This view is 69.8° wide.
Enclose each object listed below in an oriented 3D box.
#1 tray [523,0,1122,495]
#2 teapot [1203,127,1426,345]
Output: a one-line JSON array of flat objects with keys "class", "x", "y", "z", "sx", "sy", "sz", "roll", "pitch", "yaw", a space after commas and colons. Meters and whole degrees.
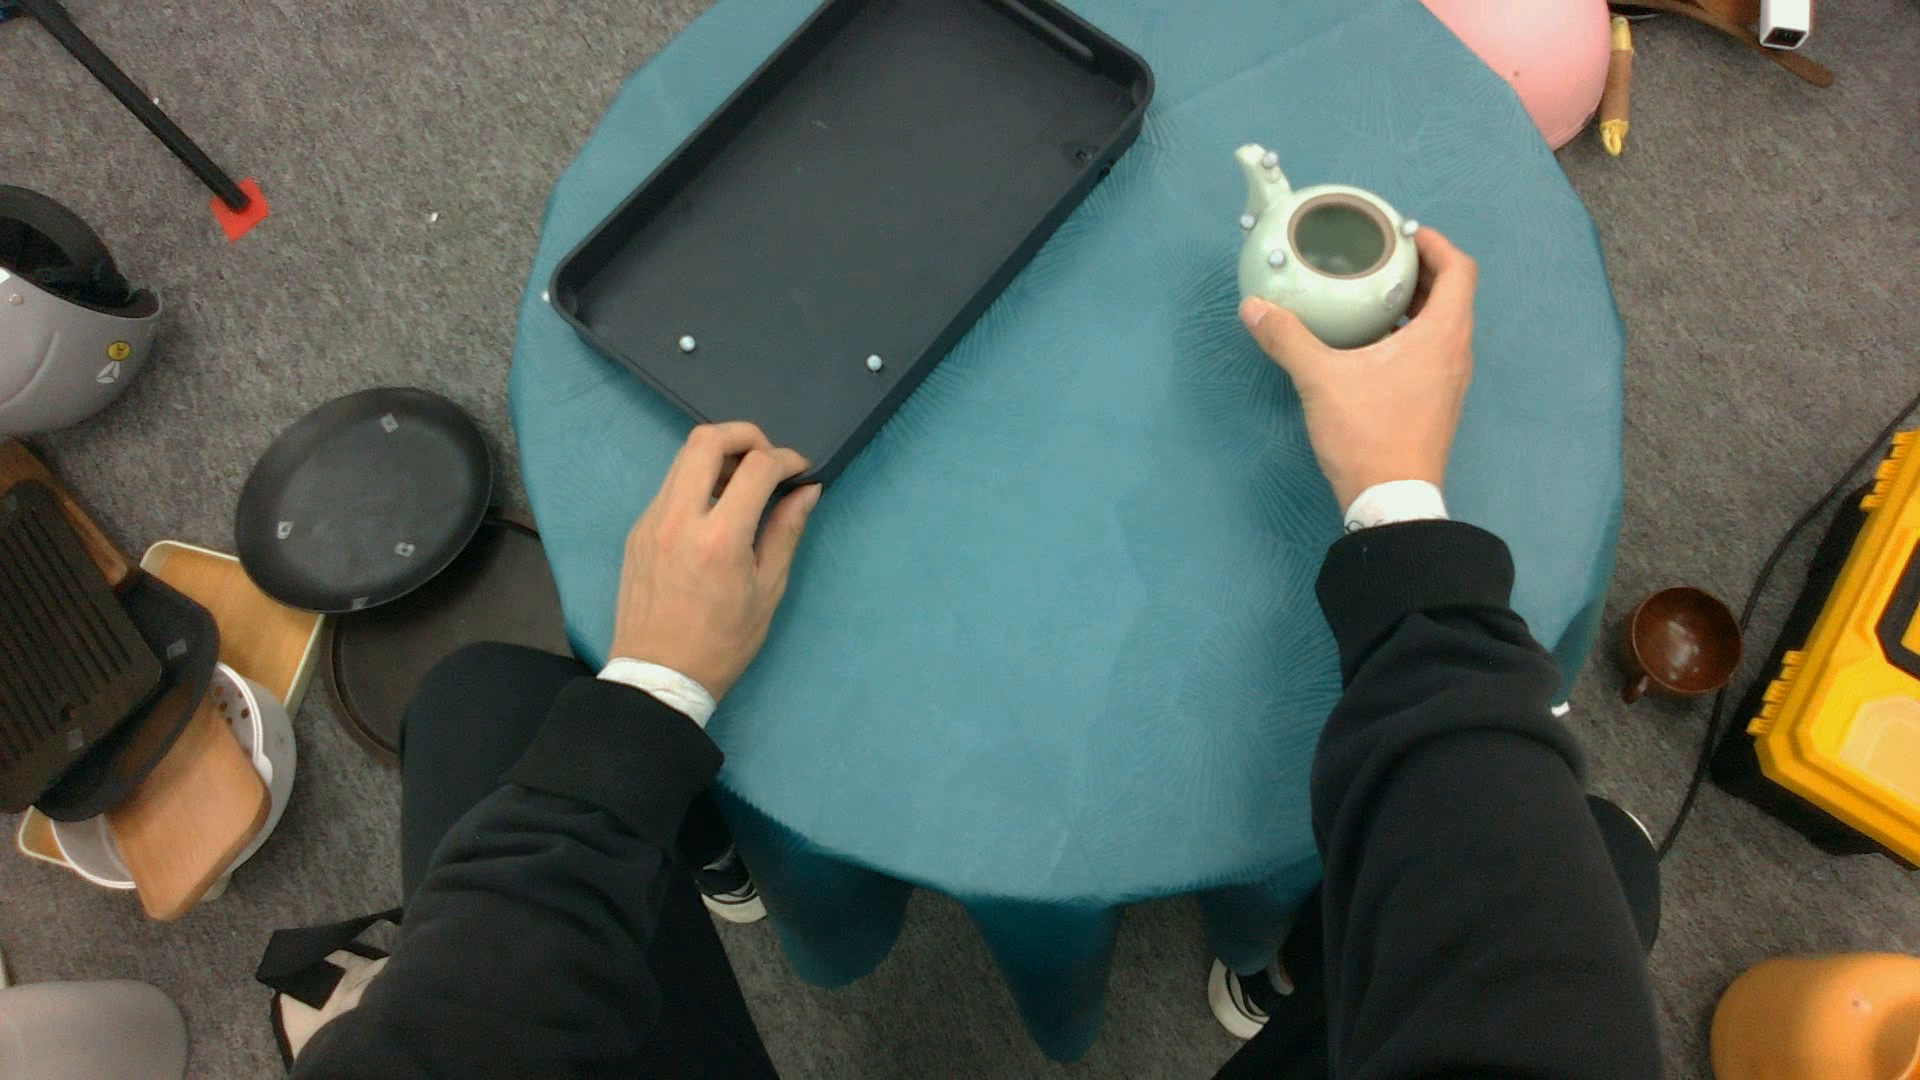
[{"class": "tray", "x": -0.068, "y": -0.189, "z": 0.752, "sx": 0.184, "sy": 0.037, "sz": 0.319, "roll": 35, "pitch": 74, "yaw": 10}, {"class": "teapot", "x": 0.171, "y": -0.145, "z": 0.700, "sx": 0.088, "sy": 0.074, "sz": 0.144, "roll": -36, "pitch": 69, "yaw": -18}]
